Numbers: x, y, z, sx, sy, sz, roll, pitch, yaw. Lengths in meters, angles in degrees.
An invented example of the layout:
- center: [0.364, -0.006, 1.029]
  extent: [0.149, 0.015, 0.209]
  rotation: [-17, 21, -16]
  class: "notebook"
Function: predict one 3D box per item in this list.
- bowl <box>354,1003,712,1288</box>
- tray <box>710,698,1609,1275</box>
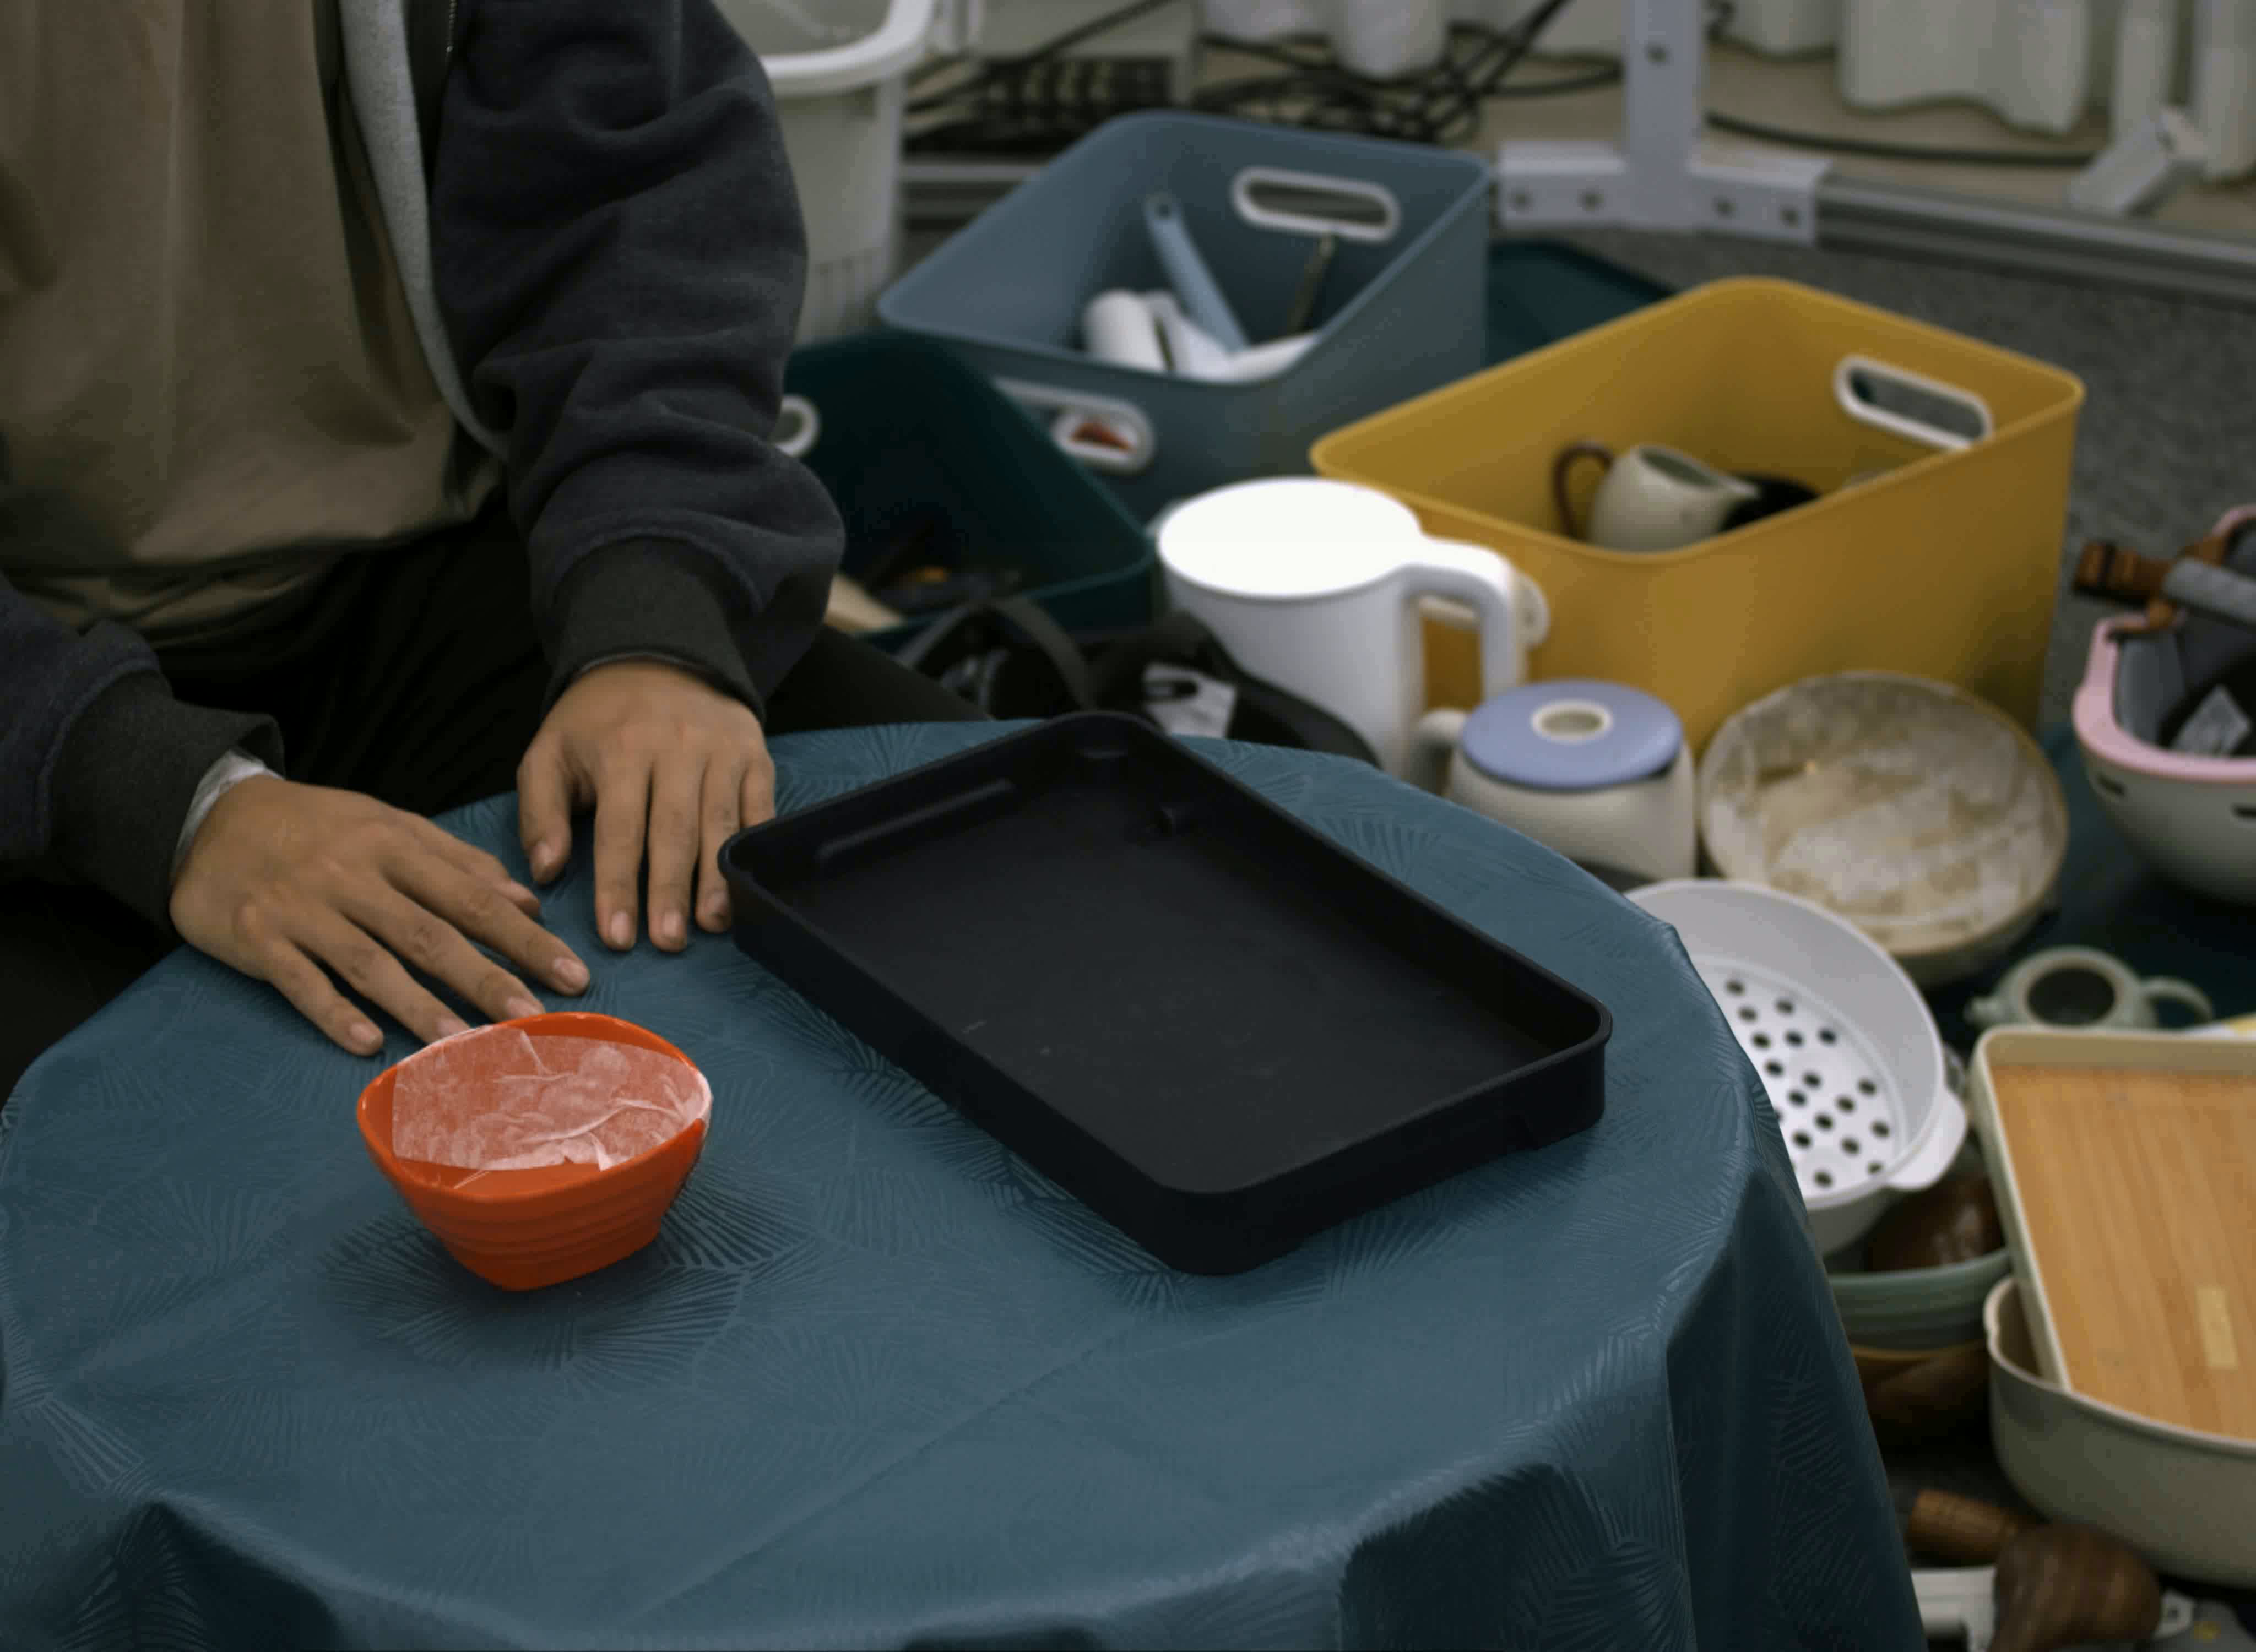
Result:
- center: [-0.193, 0.110, 1.845]
  extent: [0.118, 0.051, 0.121]
  rotation: [-2, 29, 1]
  class: "bowl"
- center: [0.006, 0.050, 1.957]
  extent: [0.186, 0.036, 0.319]
  rotation: [-20, 33, -29]
  class: "tray"
